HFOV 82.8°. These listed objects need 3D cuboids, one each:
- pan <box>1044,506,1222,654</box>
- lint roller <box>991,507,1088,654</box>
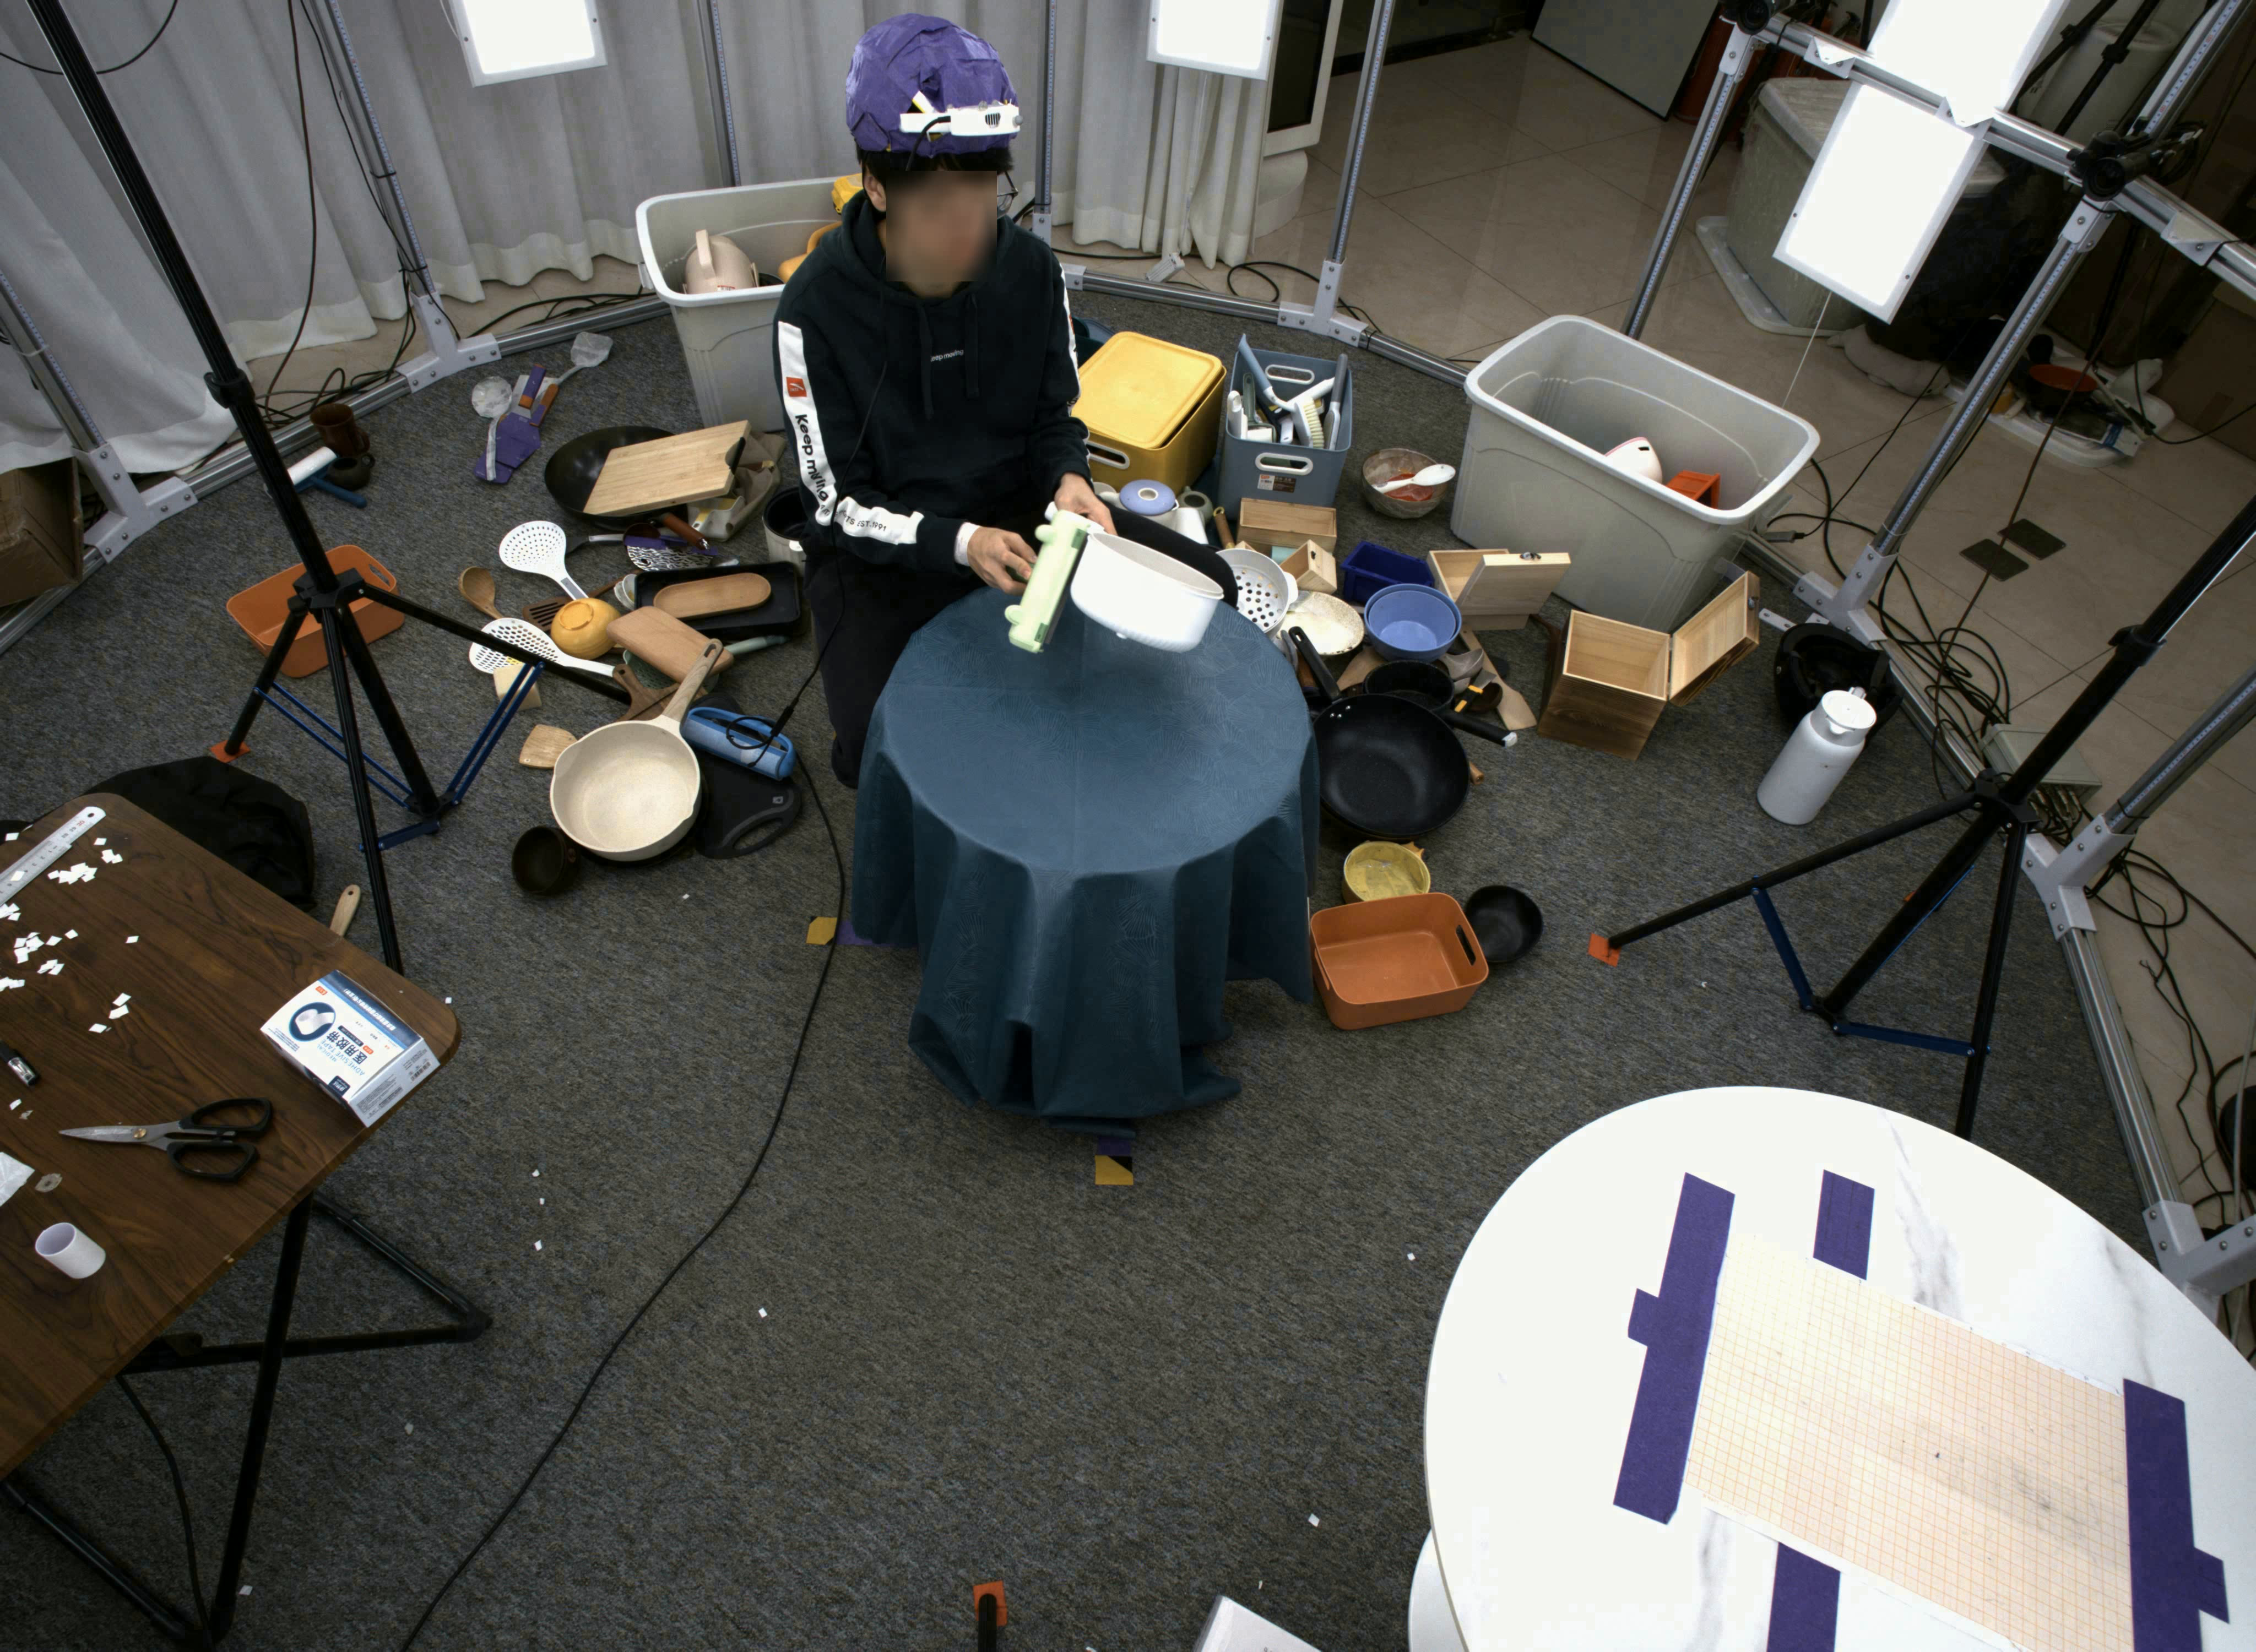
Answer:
[{"bbox_3d":[-0.024,-0.350,1.812,0.199,0.101,0.362,6,24,-41],"label":"pan"},{"bbox_3d":[-0.151,-0.357,1.795,0.186,0.197,0.081,28,11,39],"label":"lint roller"}]
